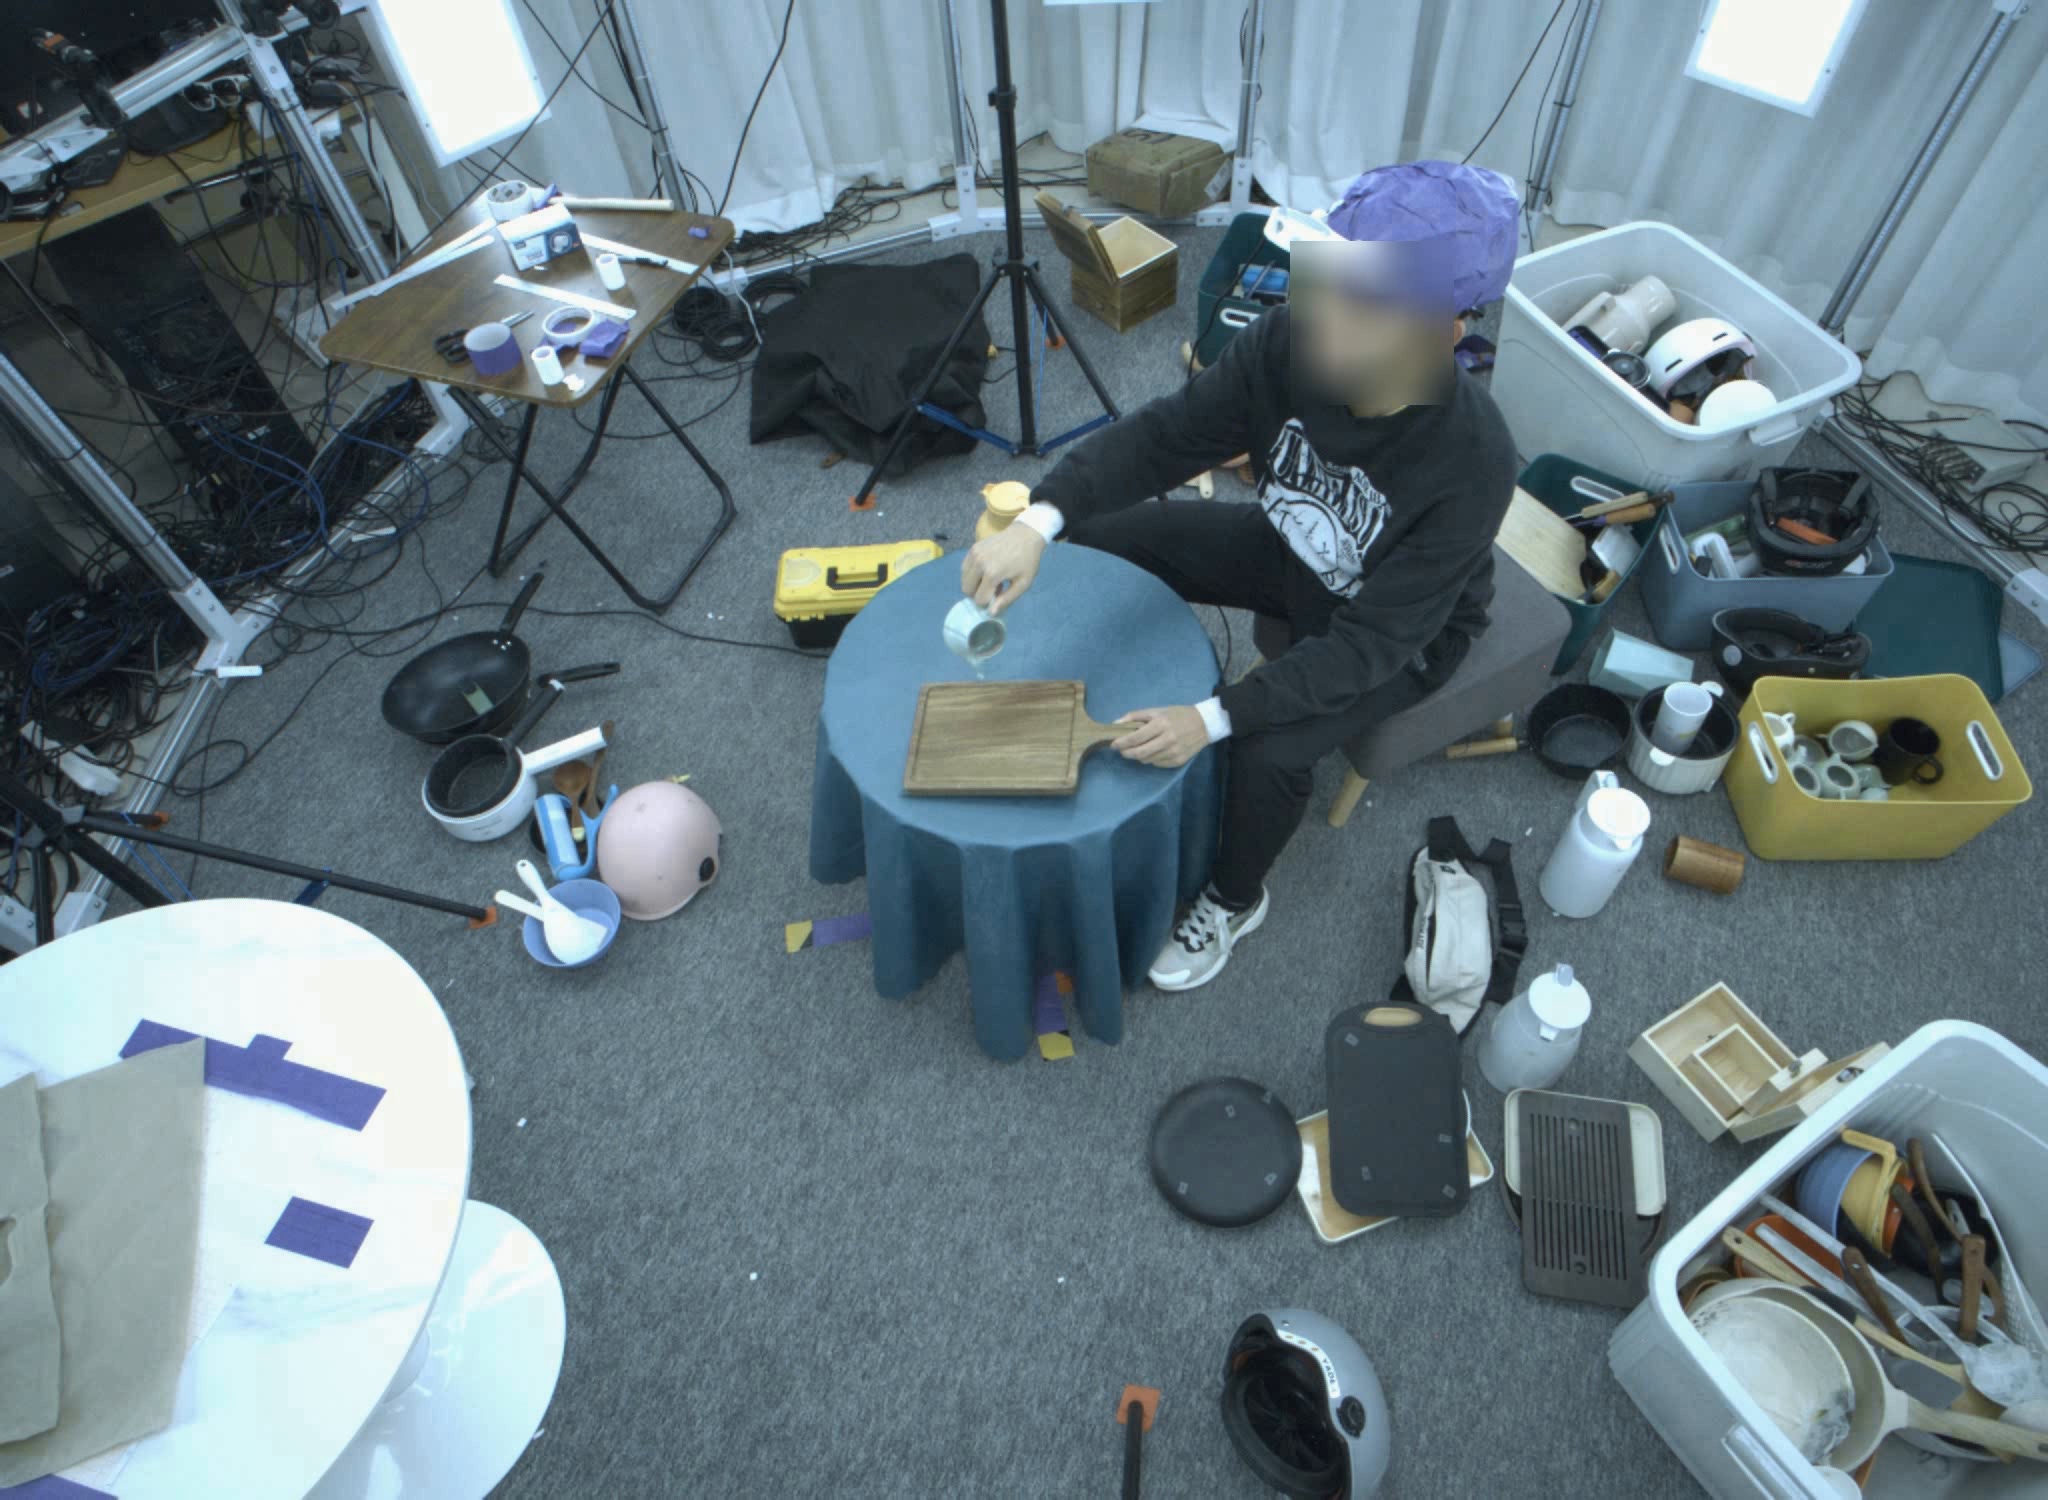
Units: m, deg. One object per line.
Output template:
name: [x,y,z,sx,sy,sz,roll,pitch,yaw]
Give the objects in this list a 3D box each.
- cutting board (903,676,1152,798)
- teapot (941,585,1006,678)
cutting board: [0.007,-0.022,1.767,0.350,0.023,0.199,-1,54,7]
teapot: [-0.065,-0.172,1.718,0.098,0.138,0.060,-9,37,-26]
